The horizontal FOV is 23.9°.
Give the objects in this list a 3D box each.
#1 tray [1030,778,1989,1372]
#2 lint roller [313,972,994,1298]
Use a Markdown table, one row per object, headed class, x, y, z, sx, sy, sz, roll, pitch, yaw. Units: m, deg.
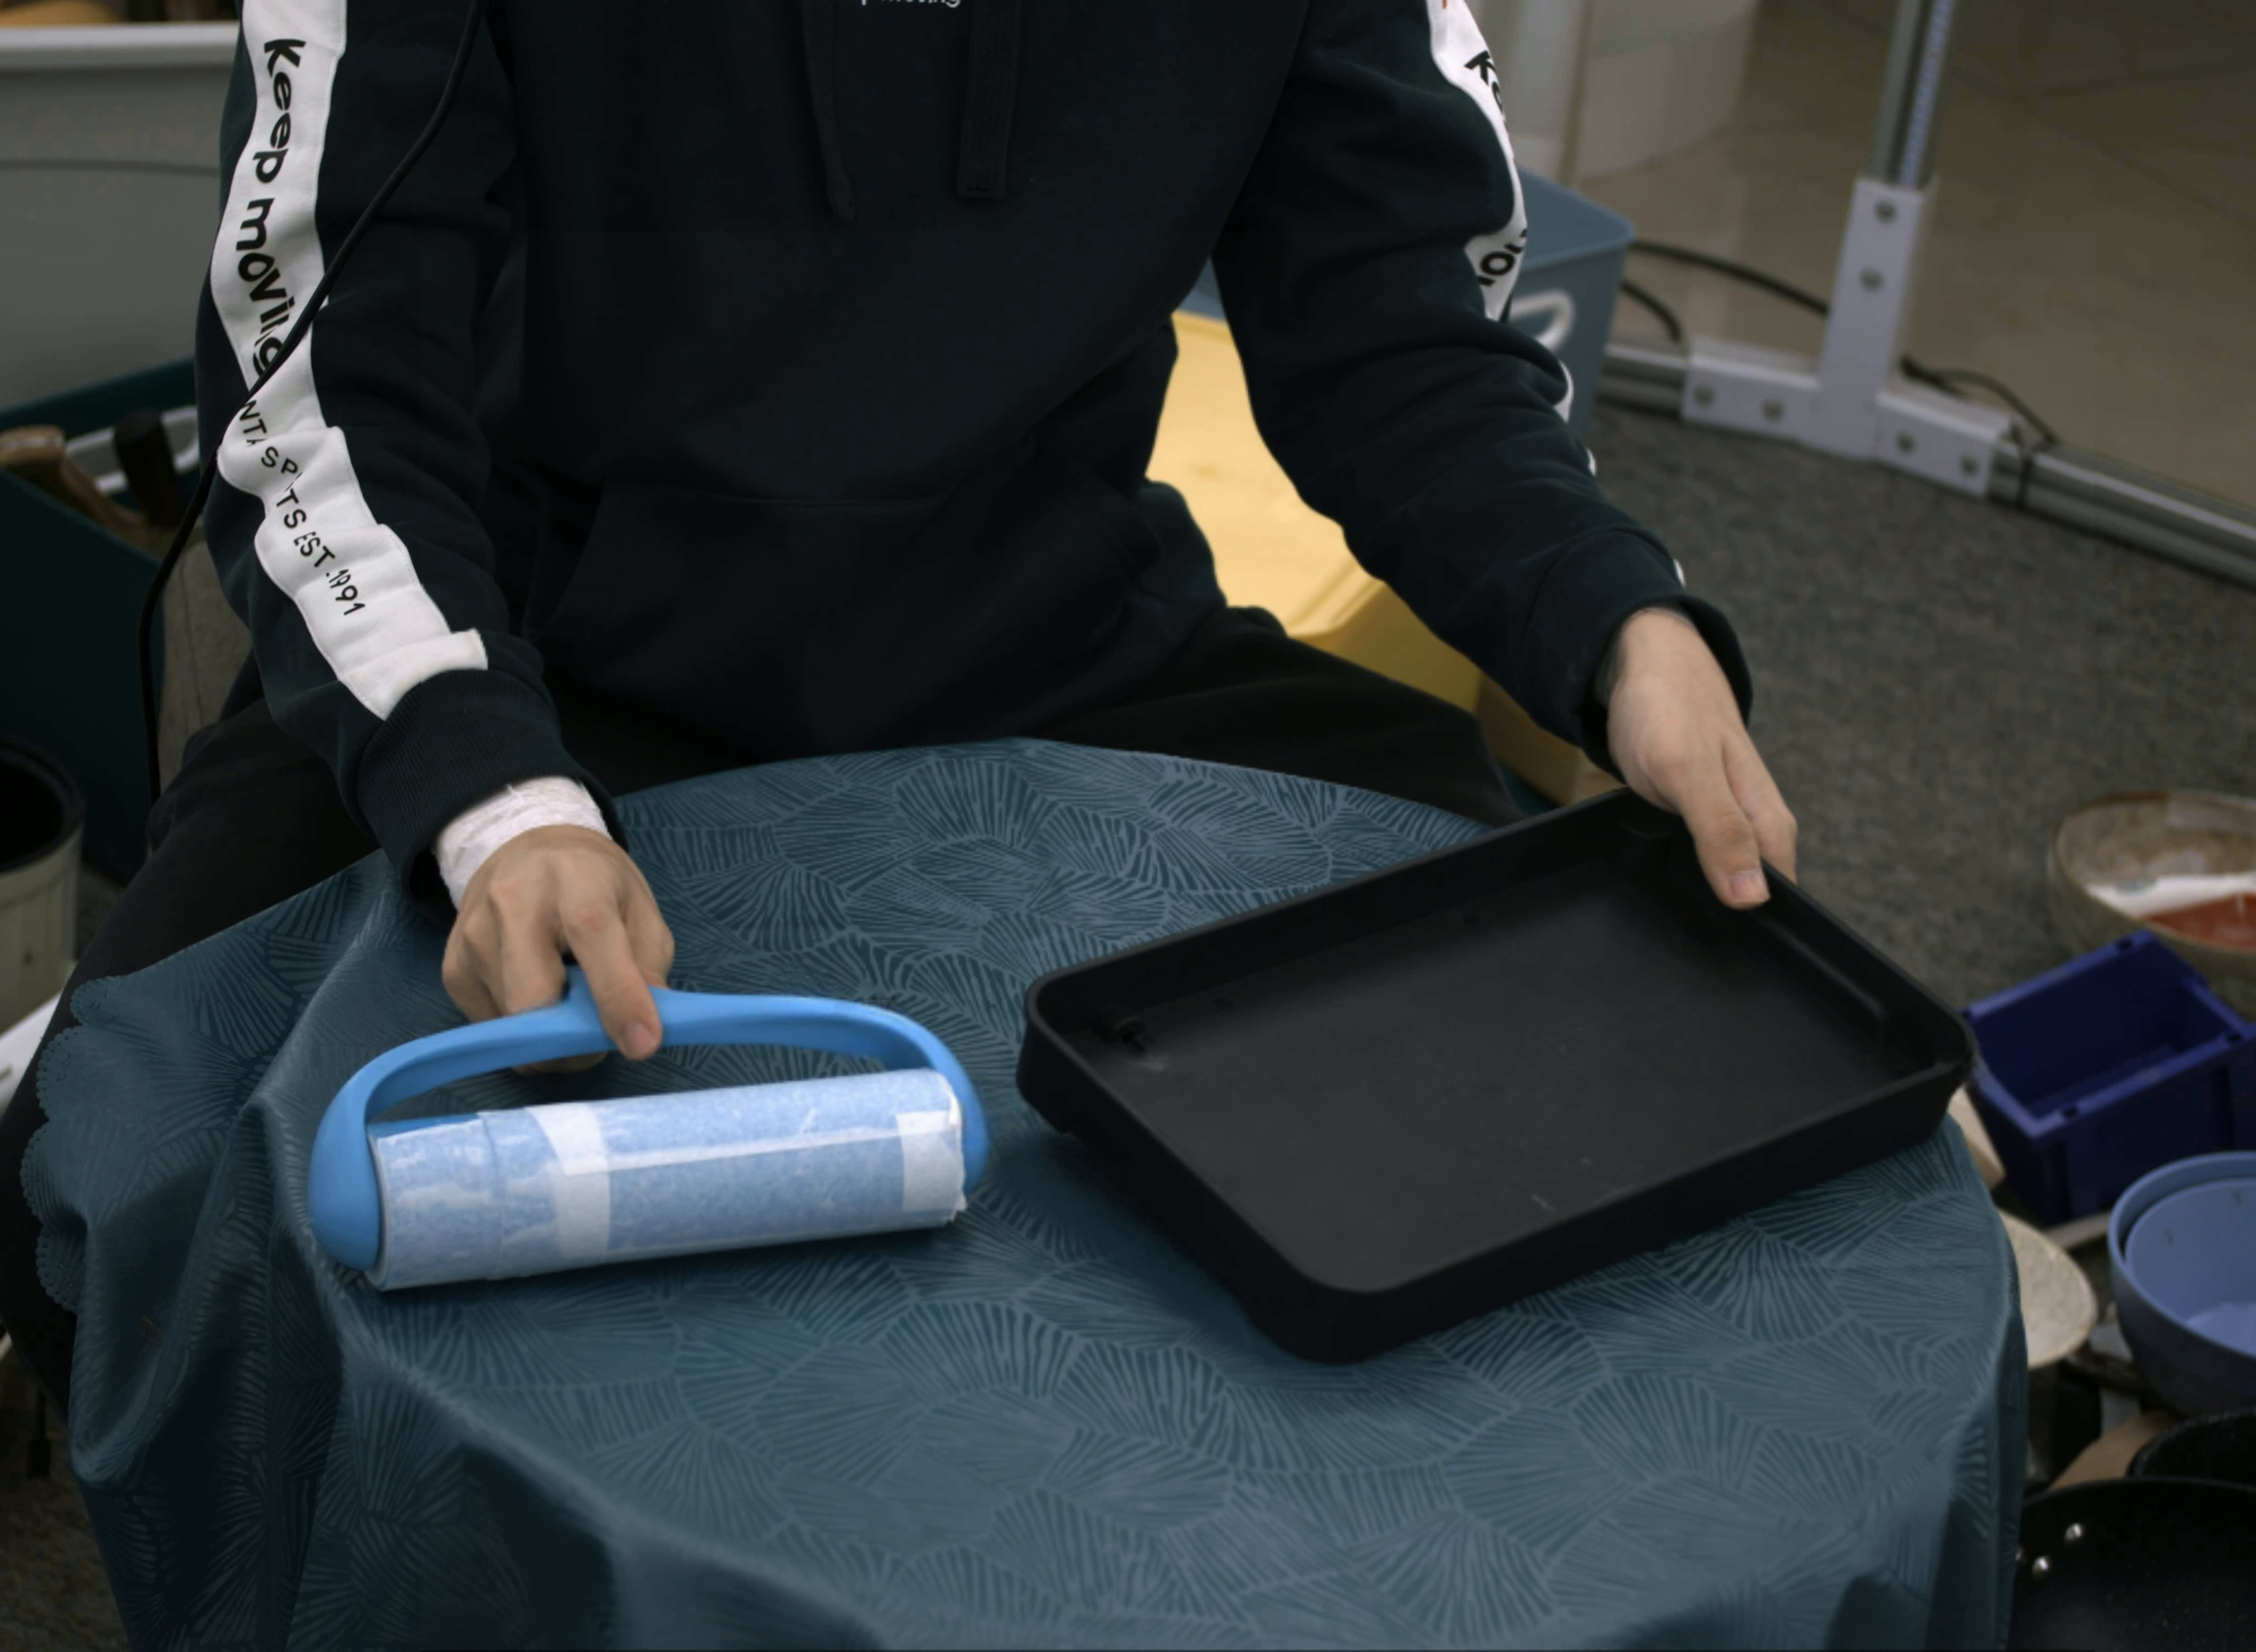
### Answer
| class | x | y | z | sx | sy | sz | roll | pitch | yaw |
| --- | --- | --- | --- | --- | --- | --- | --- | --- | --- |
| tray | 0.134 | 0.080 | 1.845 | 0.316 | 0.037 | 0.186 | -19 | 44 | -37 |
| lint roller | -0.175 | 0.084 | 1.771 | 0.227 | 0.067 | 0.182 | -8 | 33 | -22 |
